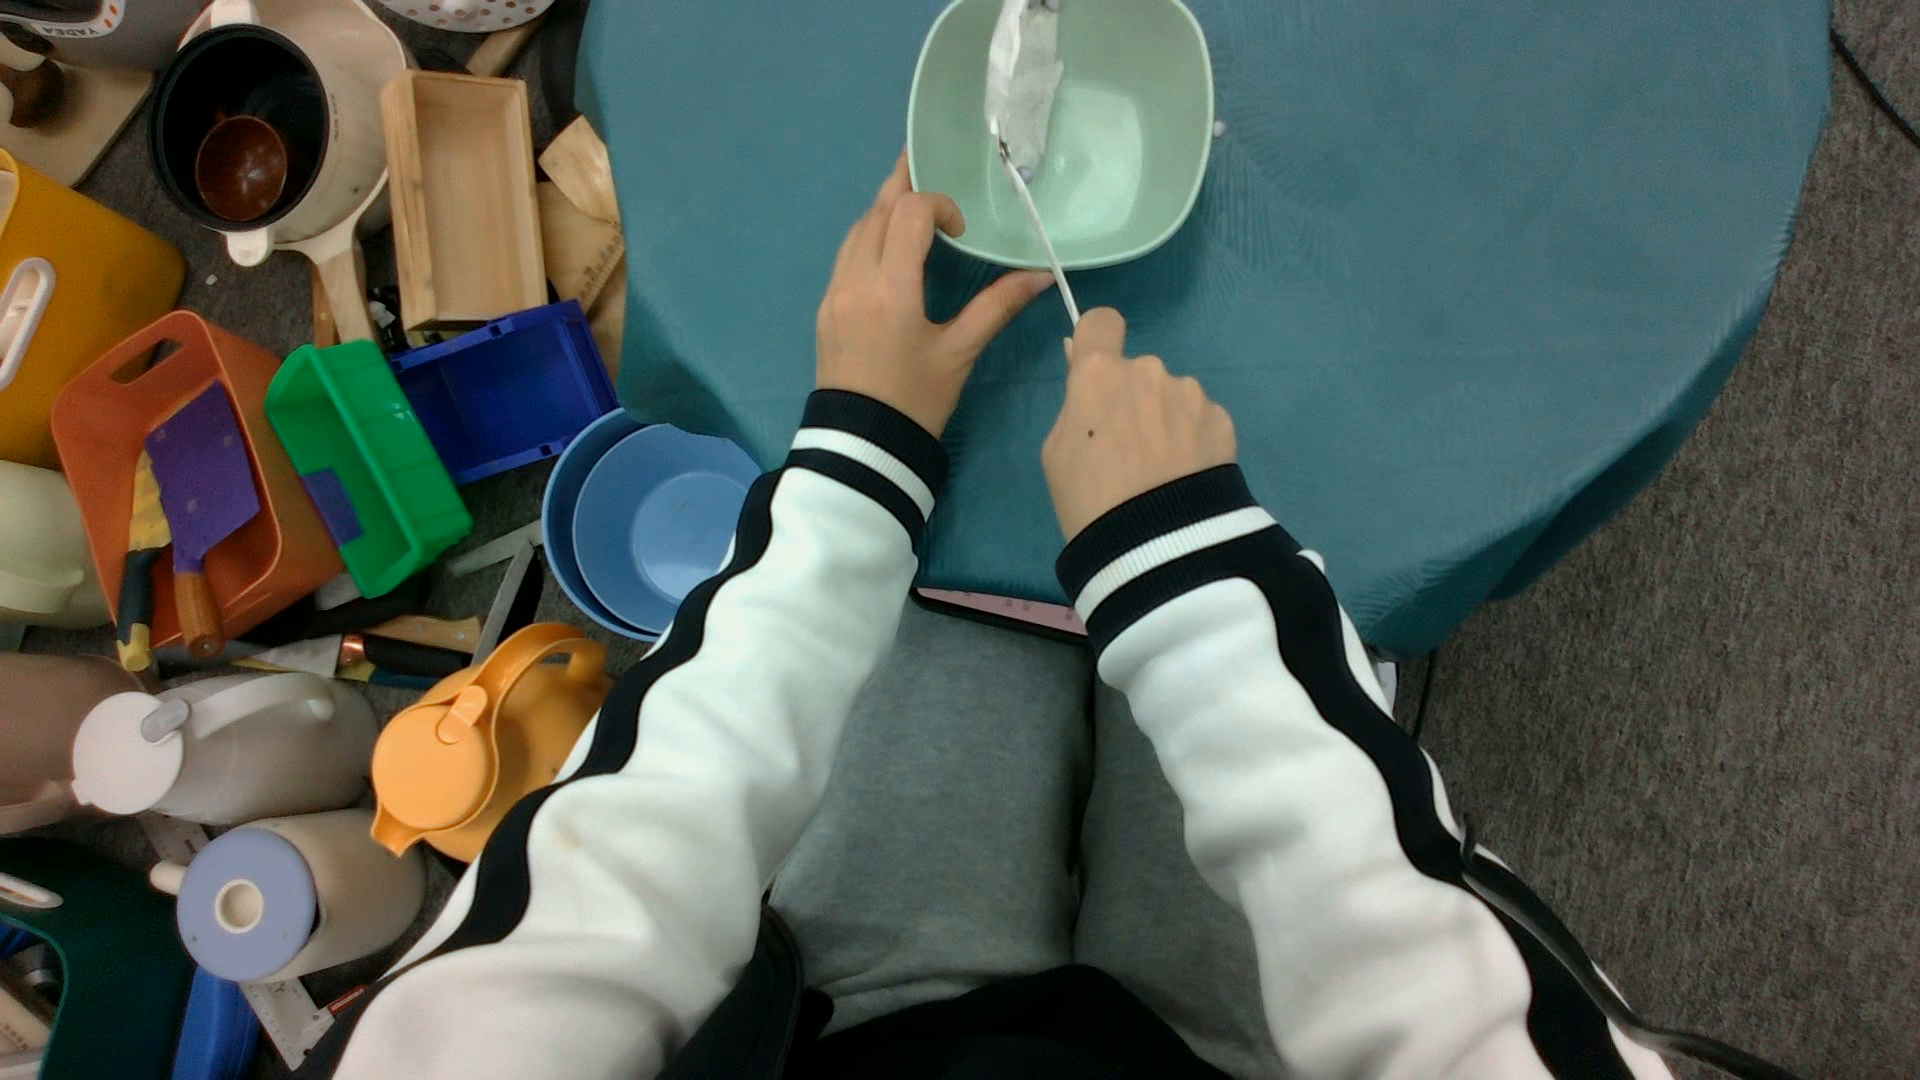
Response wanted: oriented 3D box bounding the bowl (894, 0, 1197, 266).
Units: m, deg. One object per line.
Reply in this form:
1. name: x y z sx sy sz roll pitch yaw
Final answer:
1. bowl: 0.042 -0.190 0.656 0.151 0.058 0.151 -1 82 7

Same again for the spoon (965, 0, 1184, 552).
1. spoon: 0.059 -0.128 0.578 0.059 0.100 0.278 -24 70 5
